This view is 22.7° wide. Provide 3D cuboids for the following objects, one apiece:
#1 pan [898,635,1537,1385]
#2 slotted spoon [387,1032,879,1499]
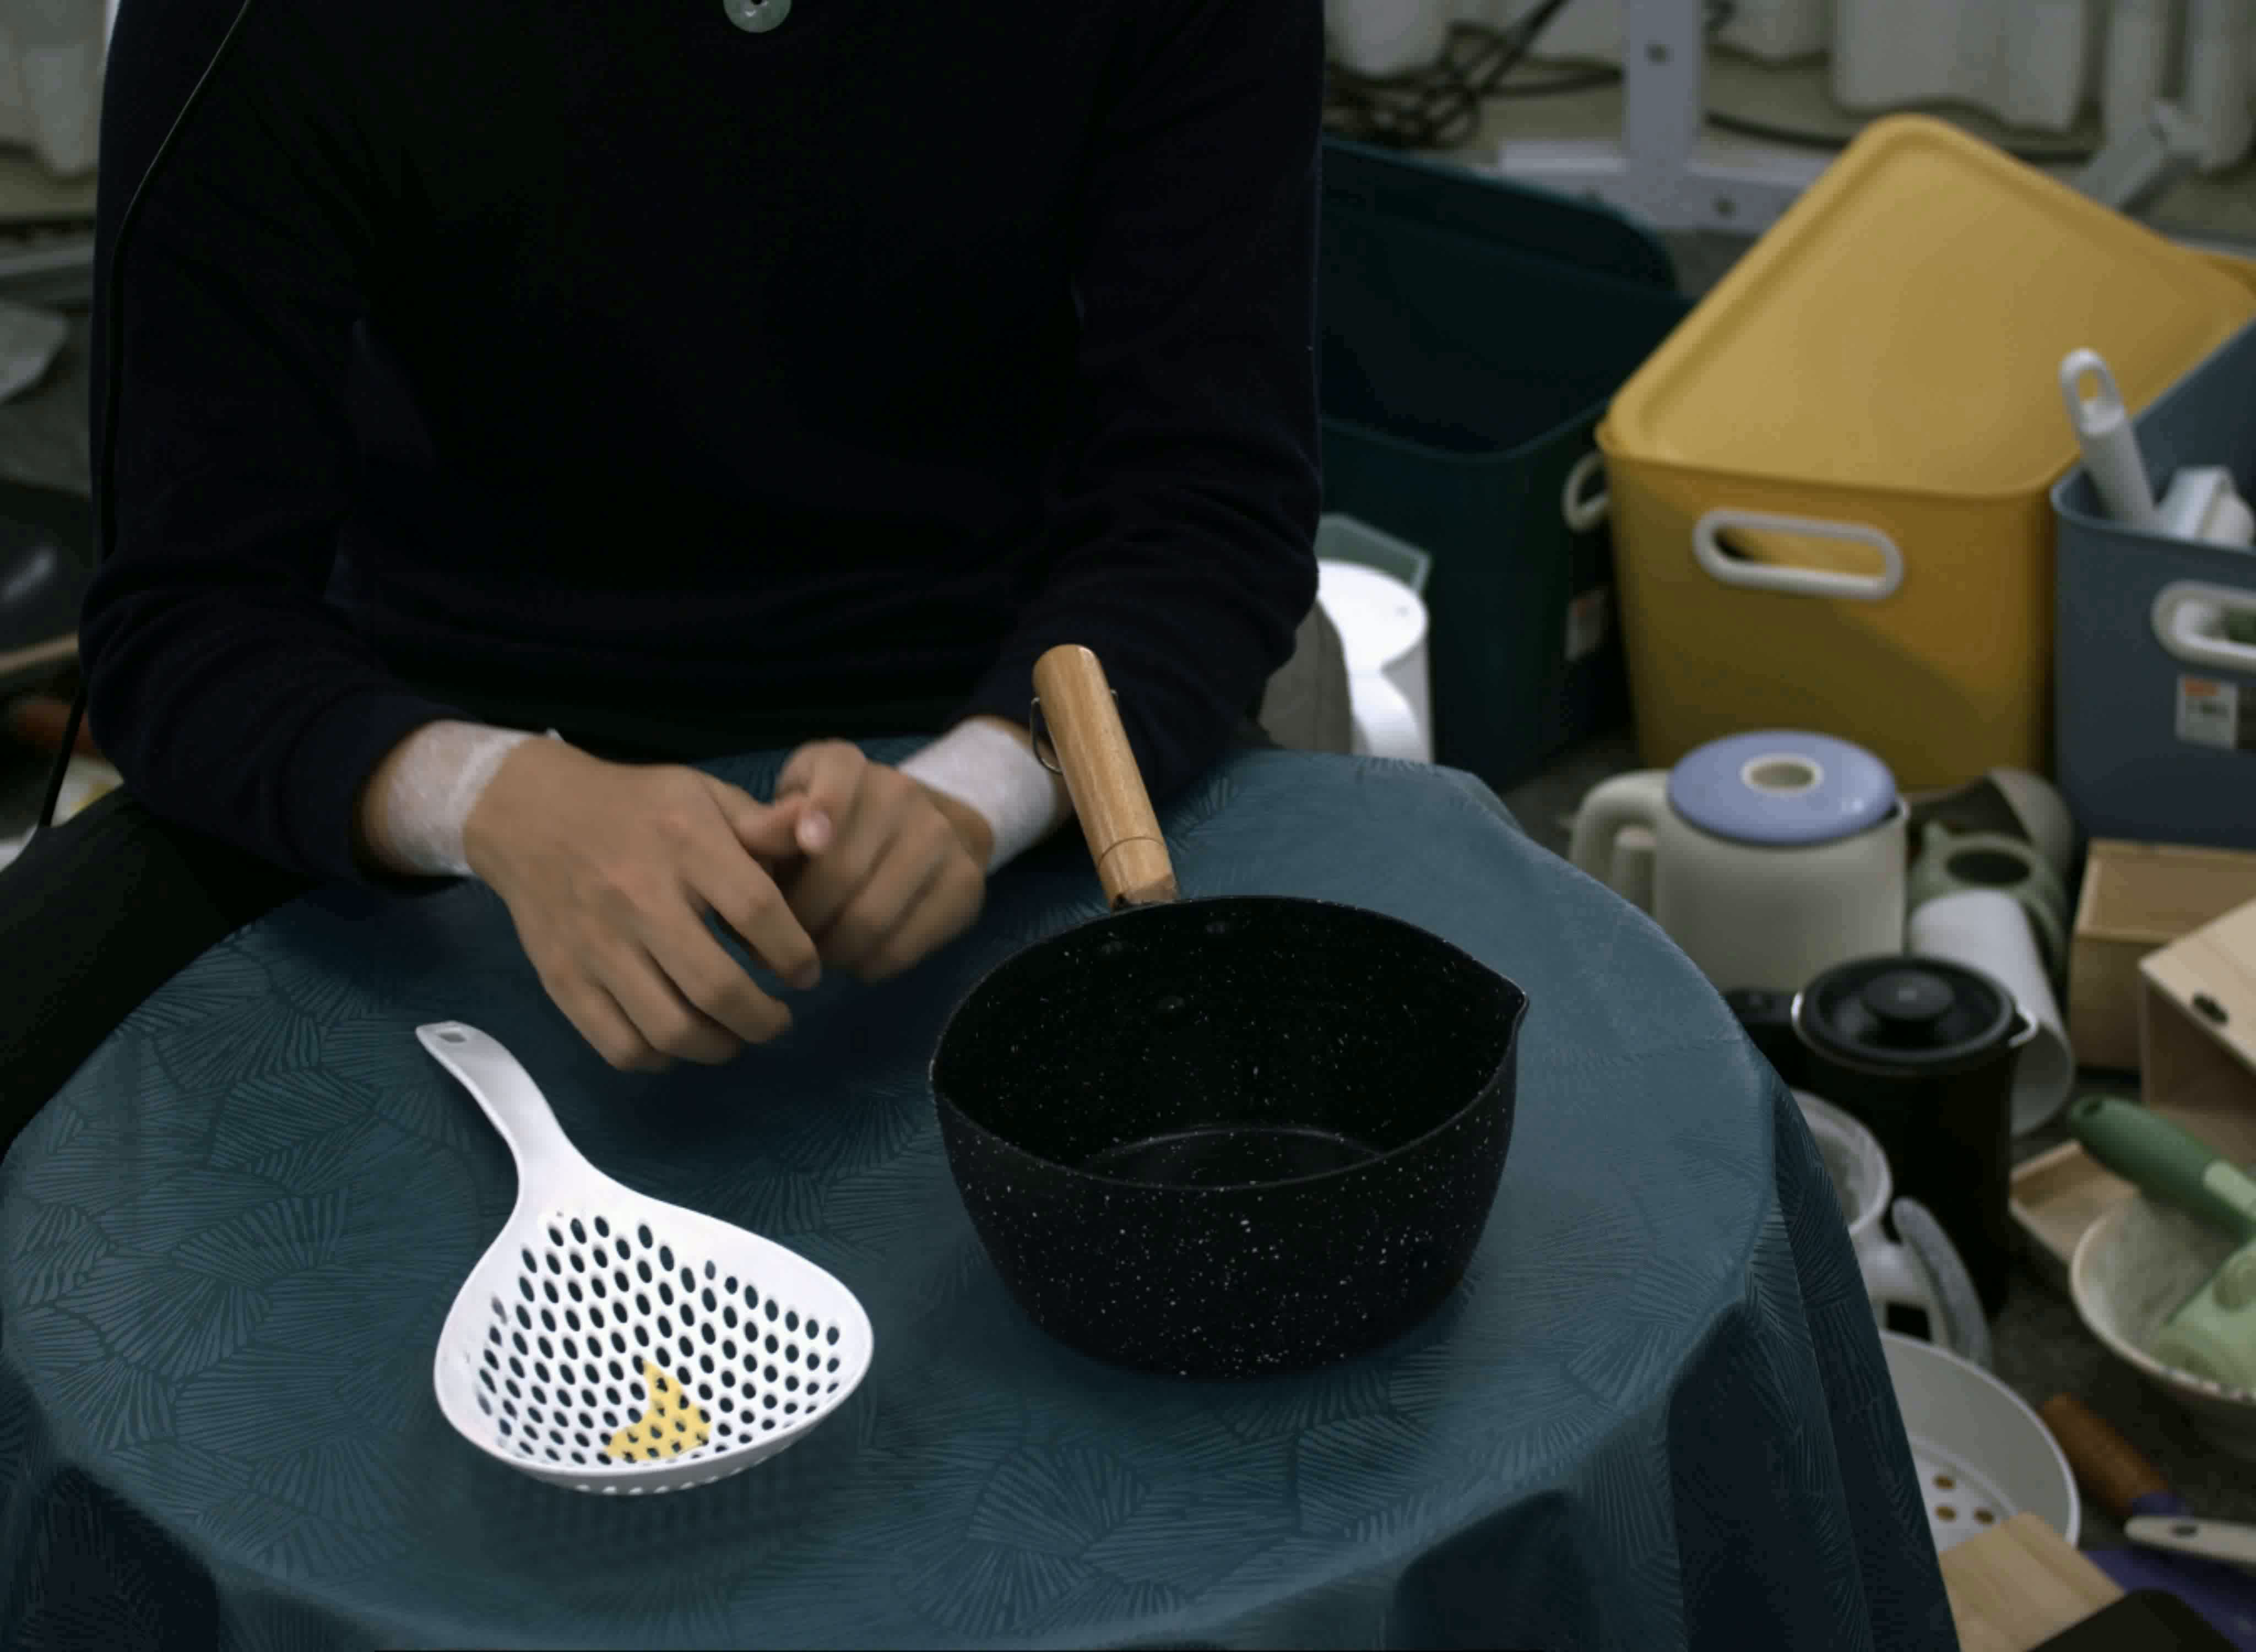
[{"bbox_3d":[0.014,0.057,1.869,0.207,0.107,0.347,-10,29,-10],"label":"pan"},{"bbox_3d":[-0.184,0.129,1.820,0.137,0.050,0.351,-14,31,-17],"label":"slotted spoon"}]
